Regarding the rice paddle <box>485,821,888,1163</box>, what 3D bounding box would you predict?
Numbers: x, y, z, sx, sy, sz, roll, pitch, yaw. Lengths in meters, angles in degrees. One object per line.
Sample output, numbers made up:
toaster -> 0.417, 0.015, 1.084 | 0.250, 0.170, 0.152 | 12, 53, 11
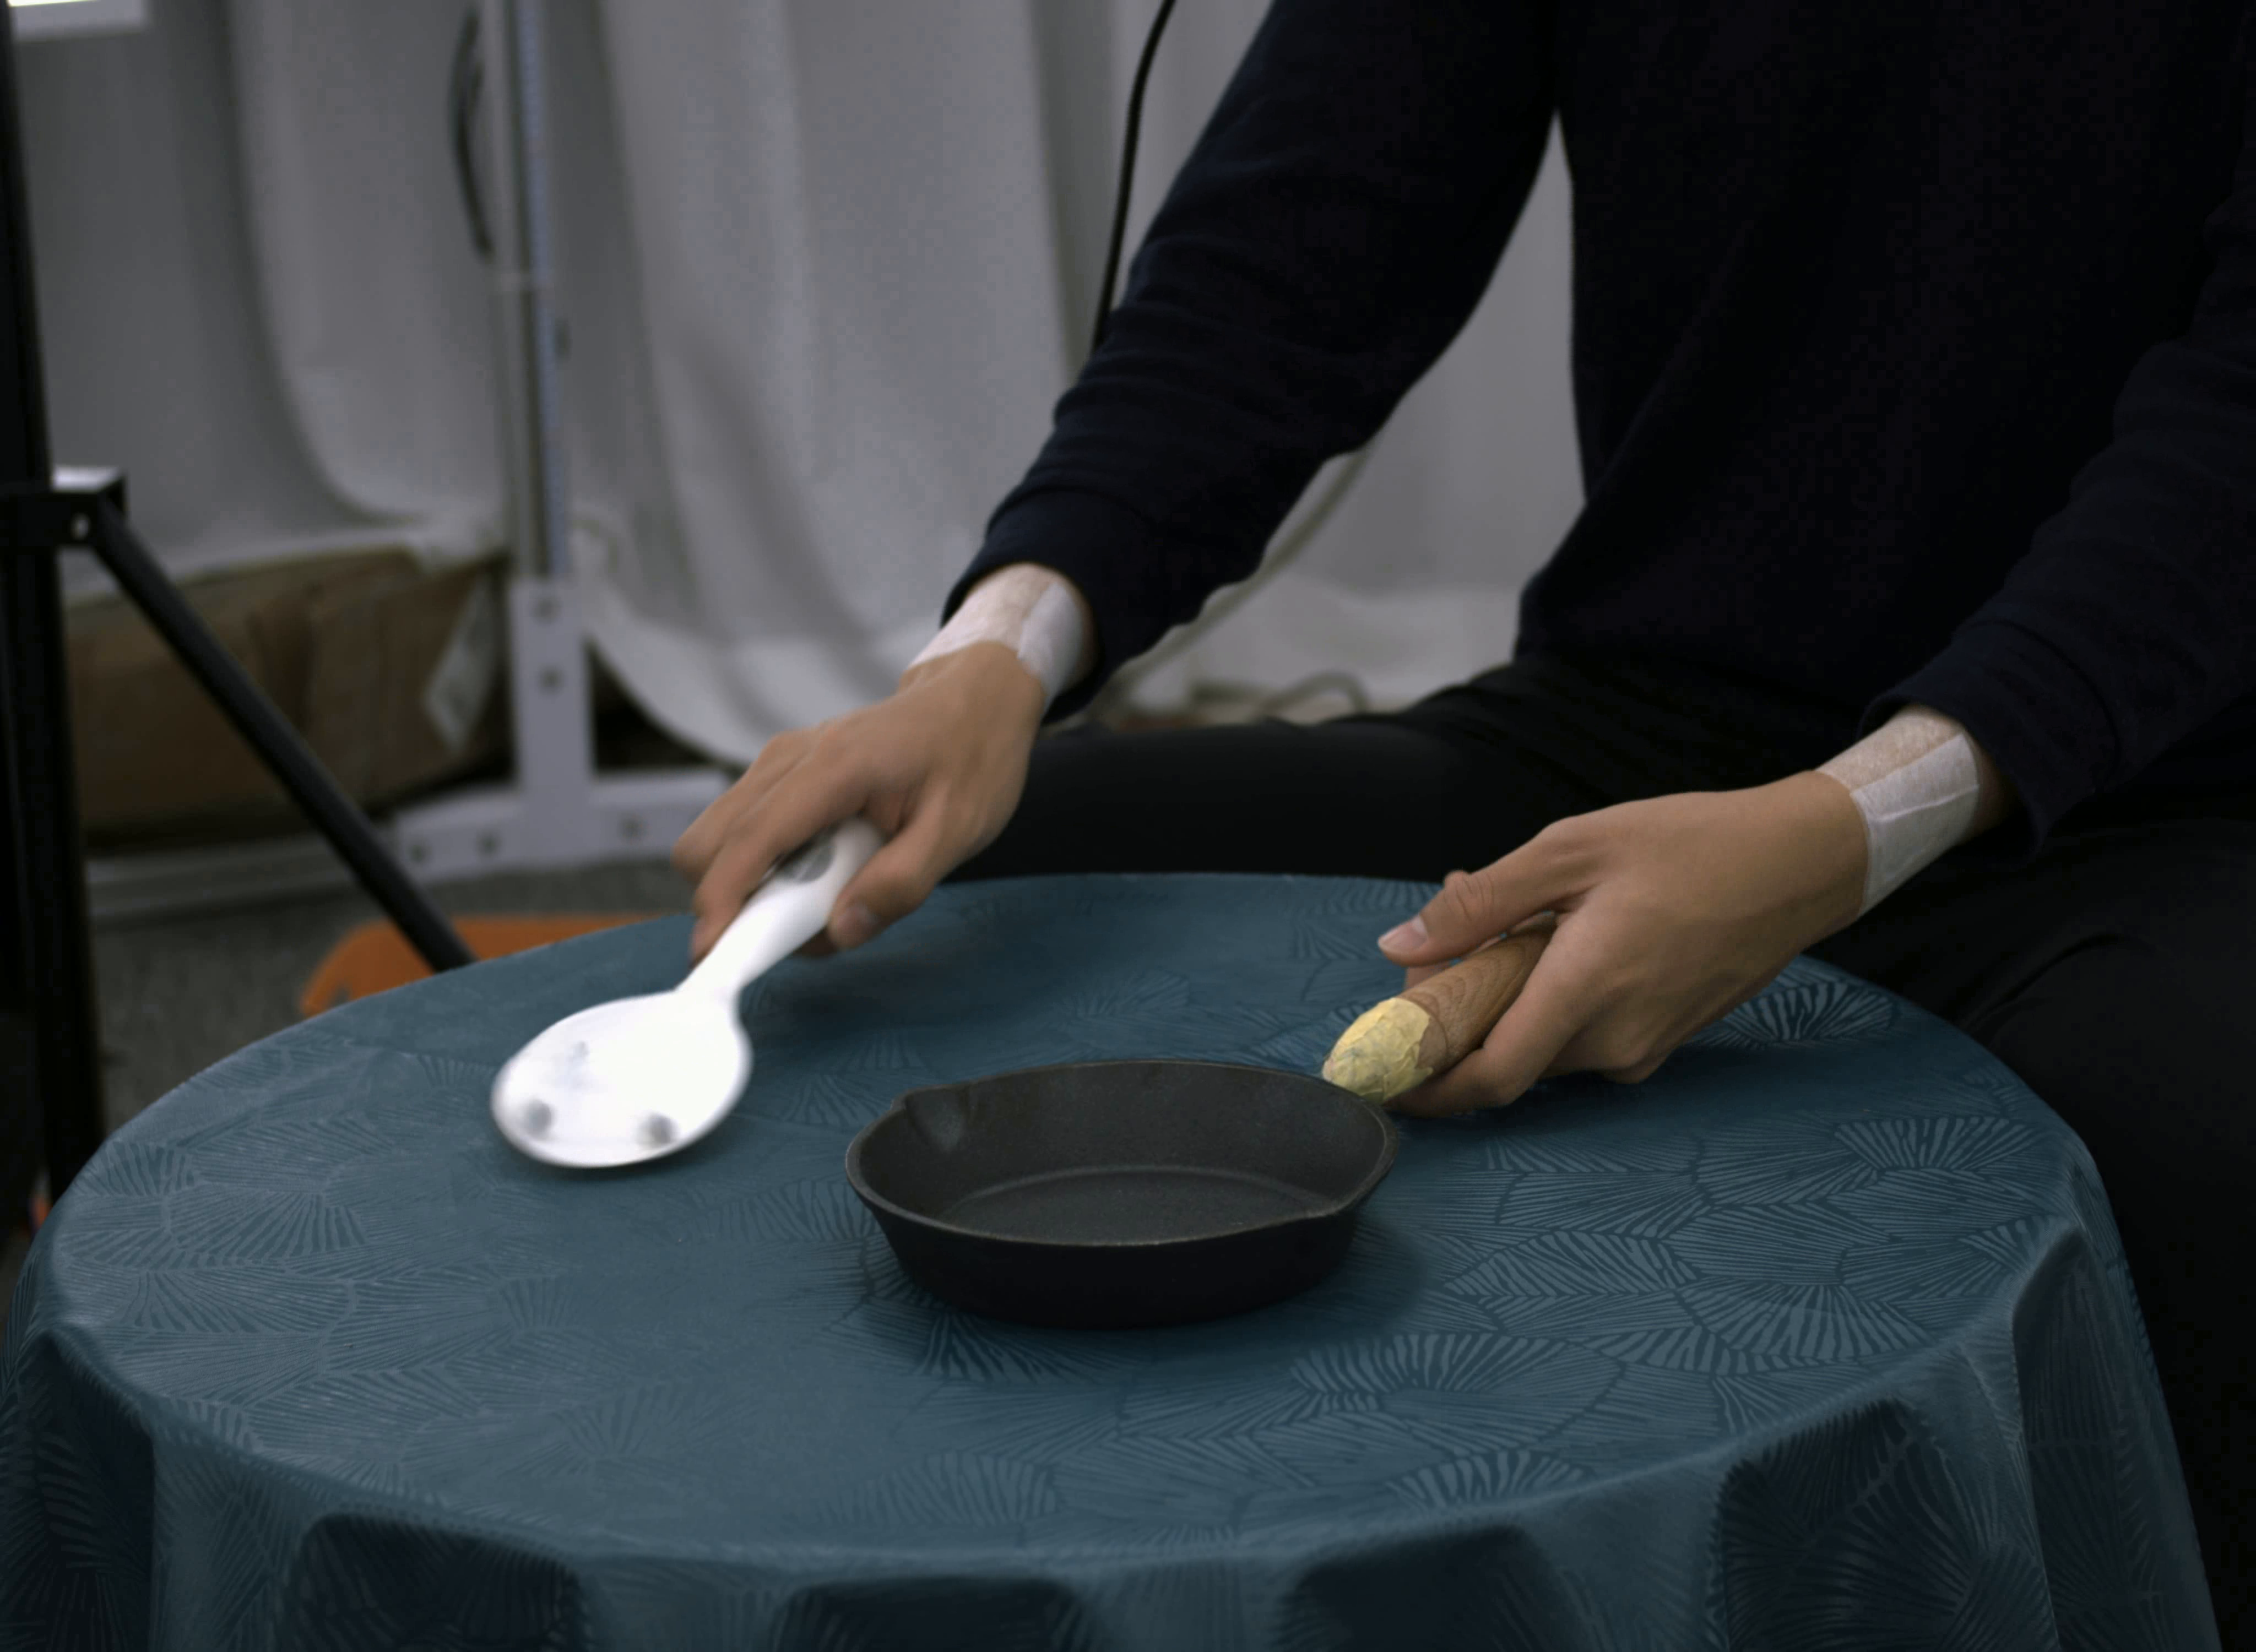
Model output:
rice paddle -> -0.134, 0.054, 1.674 | 0.070, 0.029, 0.203 | 11, 30, 23

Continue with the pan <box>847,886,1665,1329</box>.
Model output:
pan -> 0.057, 0.079, 1.559 | 0.173, 0.049, 0.317 | 13, 23, 44
